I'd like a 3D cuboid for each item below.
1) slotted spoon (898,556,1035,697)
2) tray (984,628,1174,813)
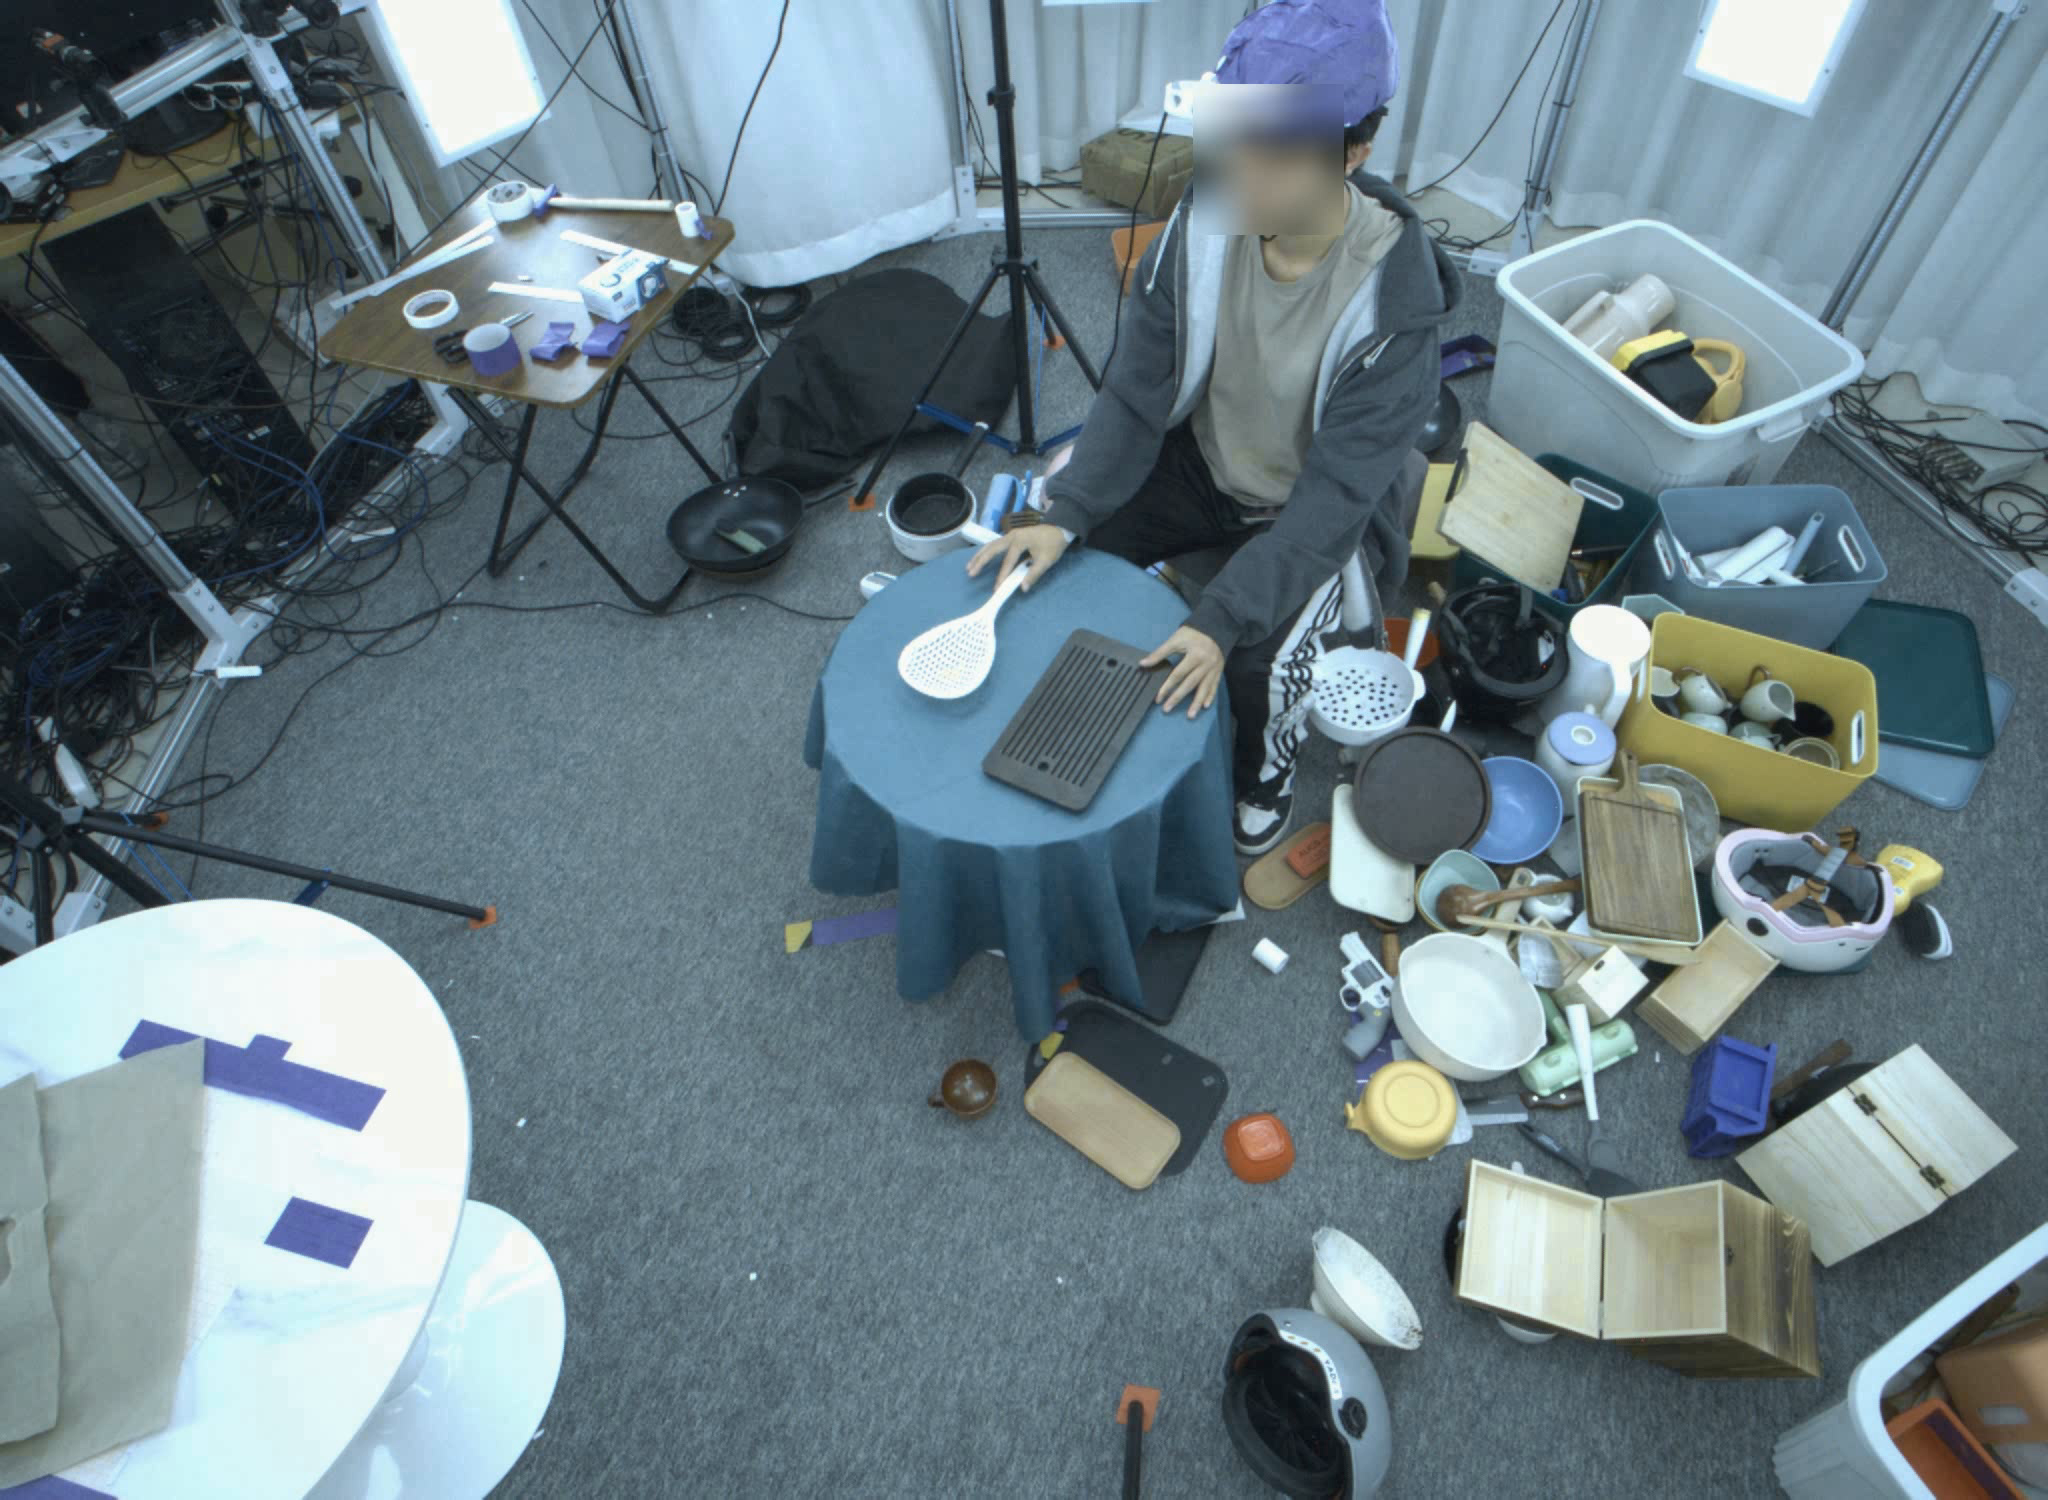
[{"bbox_3d":[-0.065,-0.201,1.909,0.135,0.051,0.348,23,59,17],"label":"slotted spoon"},{"bbox_3d":[0.085,-0.048,1.810,0.168,0.019,0.306,23,59,17],"label":"tray"}]
